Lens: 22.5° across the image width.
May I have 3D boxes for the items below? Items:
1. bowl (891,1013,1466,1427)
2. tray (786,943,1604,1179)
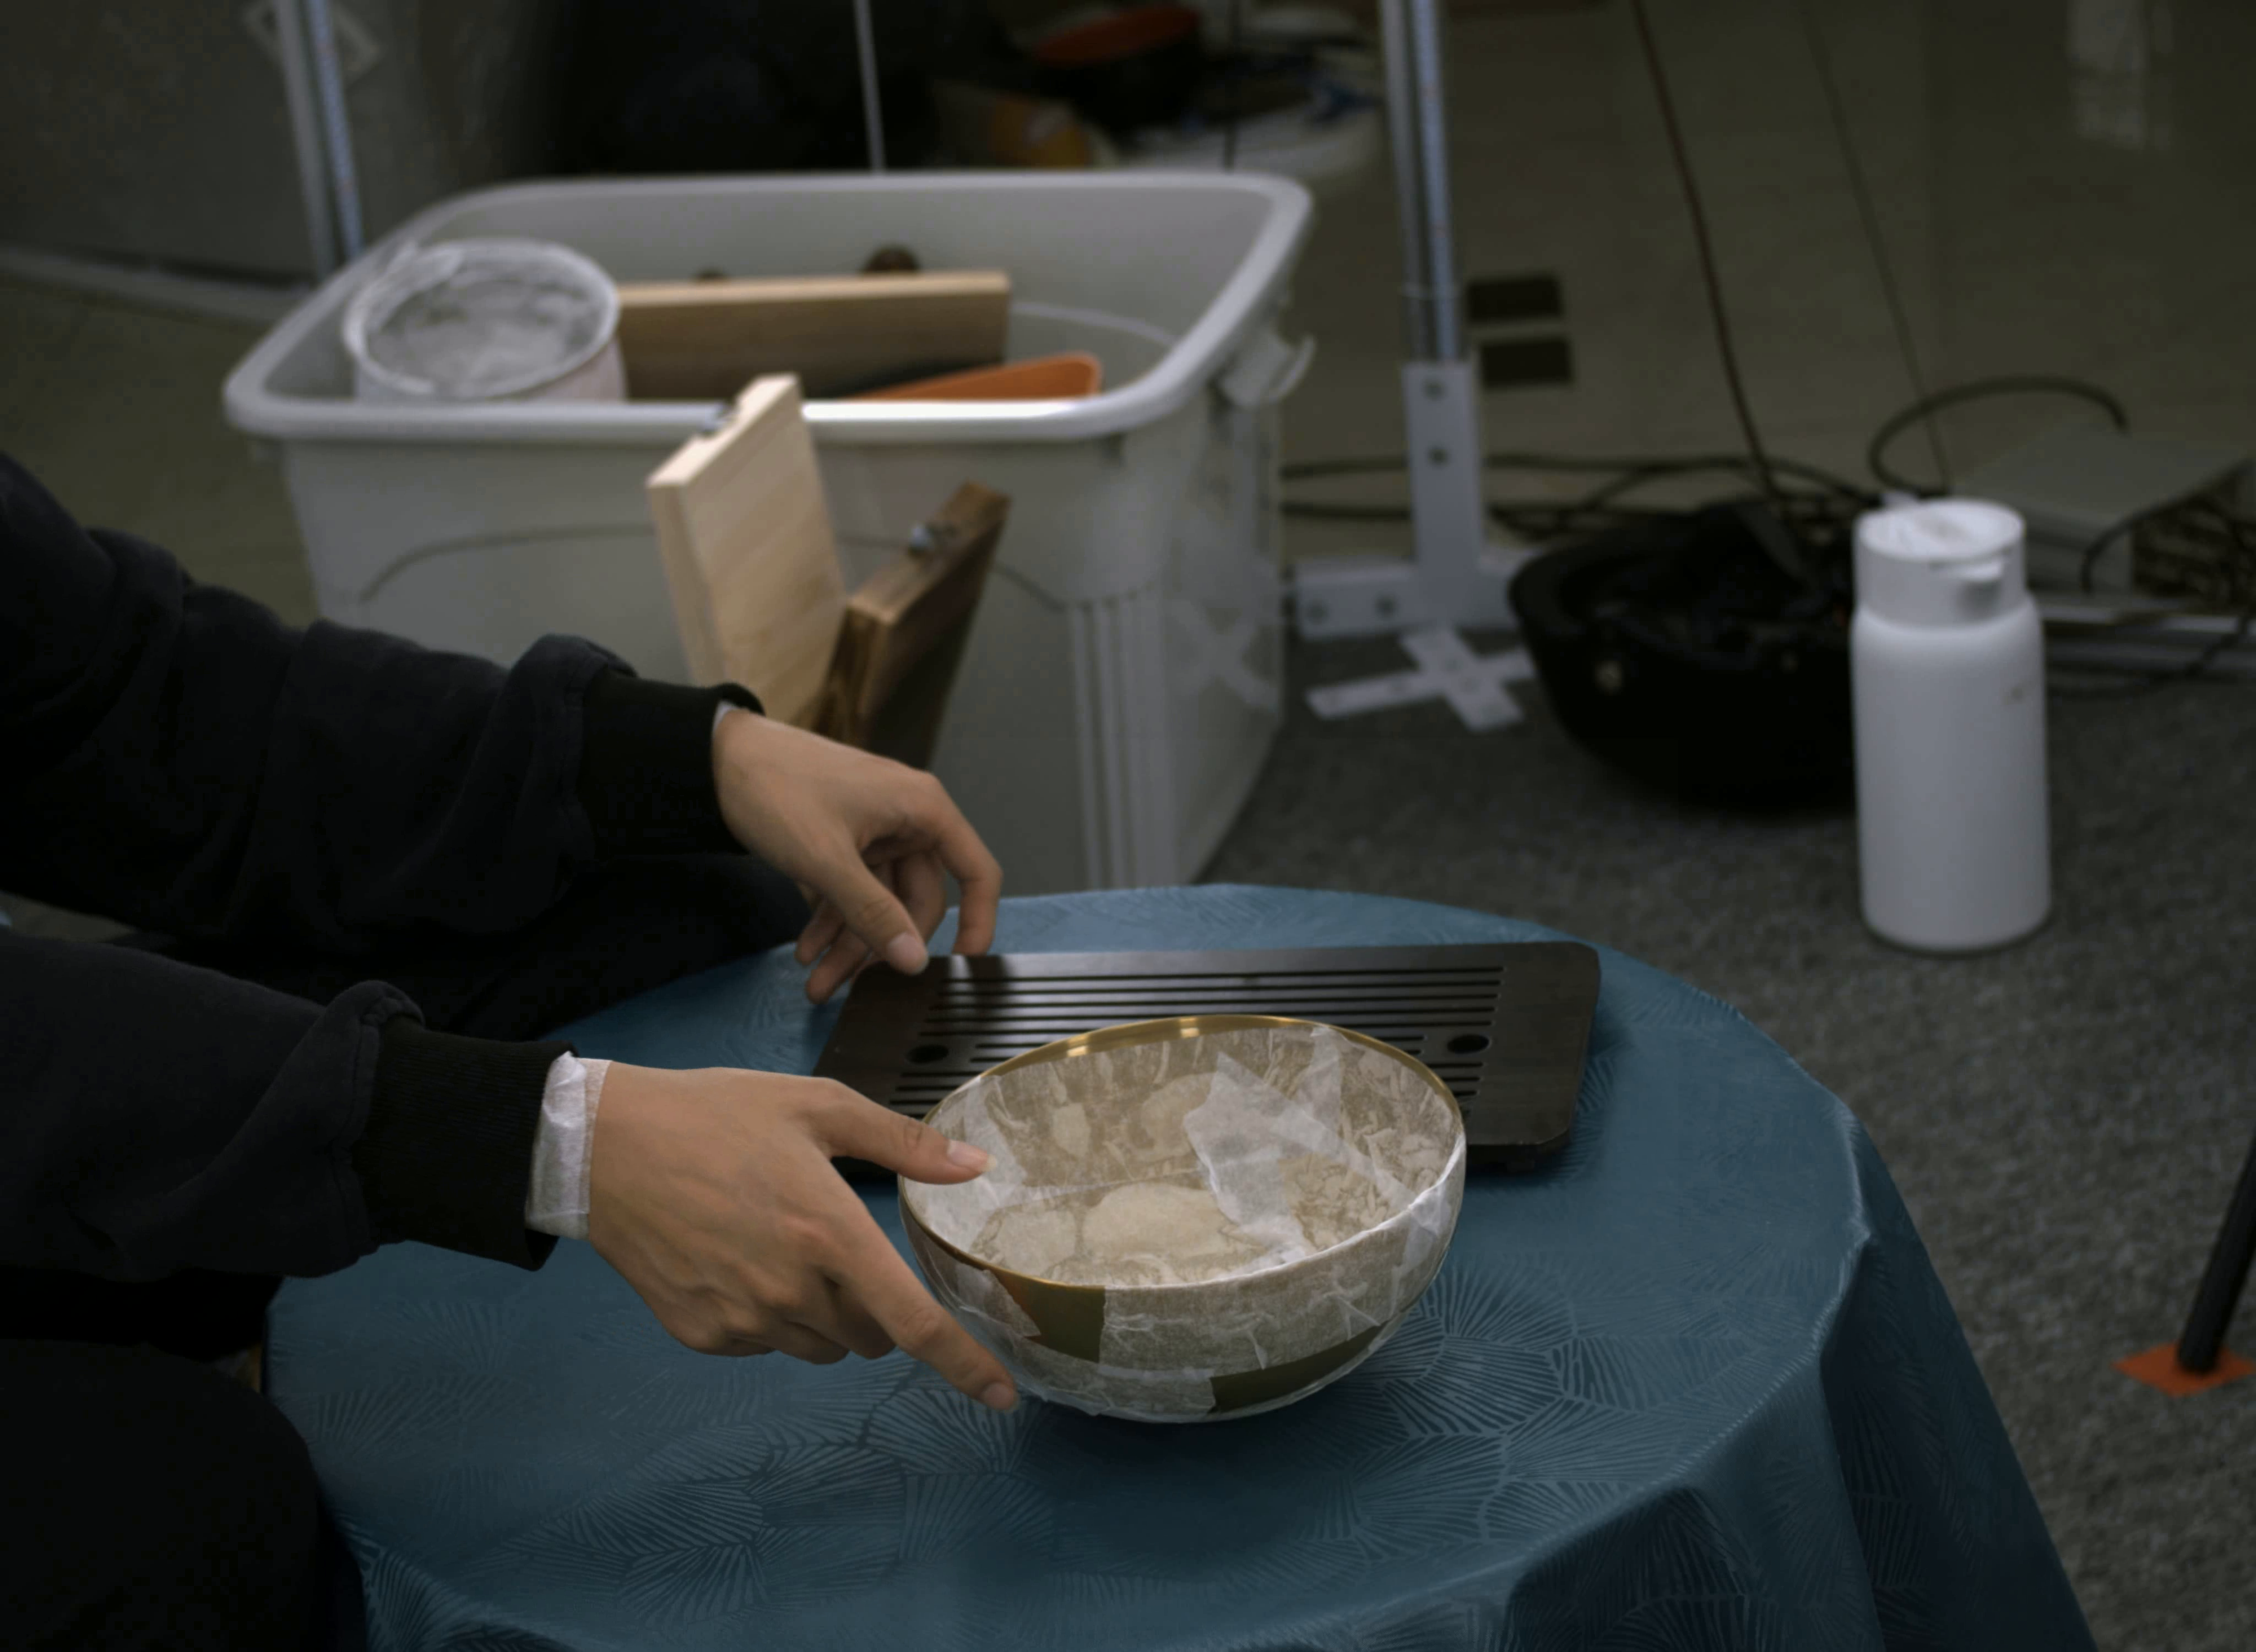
[{"bbox_3d":[0.022,0.151,2.013,0.214,0.096,0.211,-6,26,3],"label":"bowl"},{"bbox_3d":[0.029,0.093,2.224,0.305,0.019,0.167,-2,25,11],"label":"tray"}]
